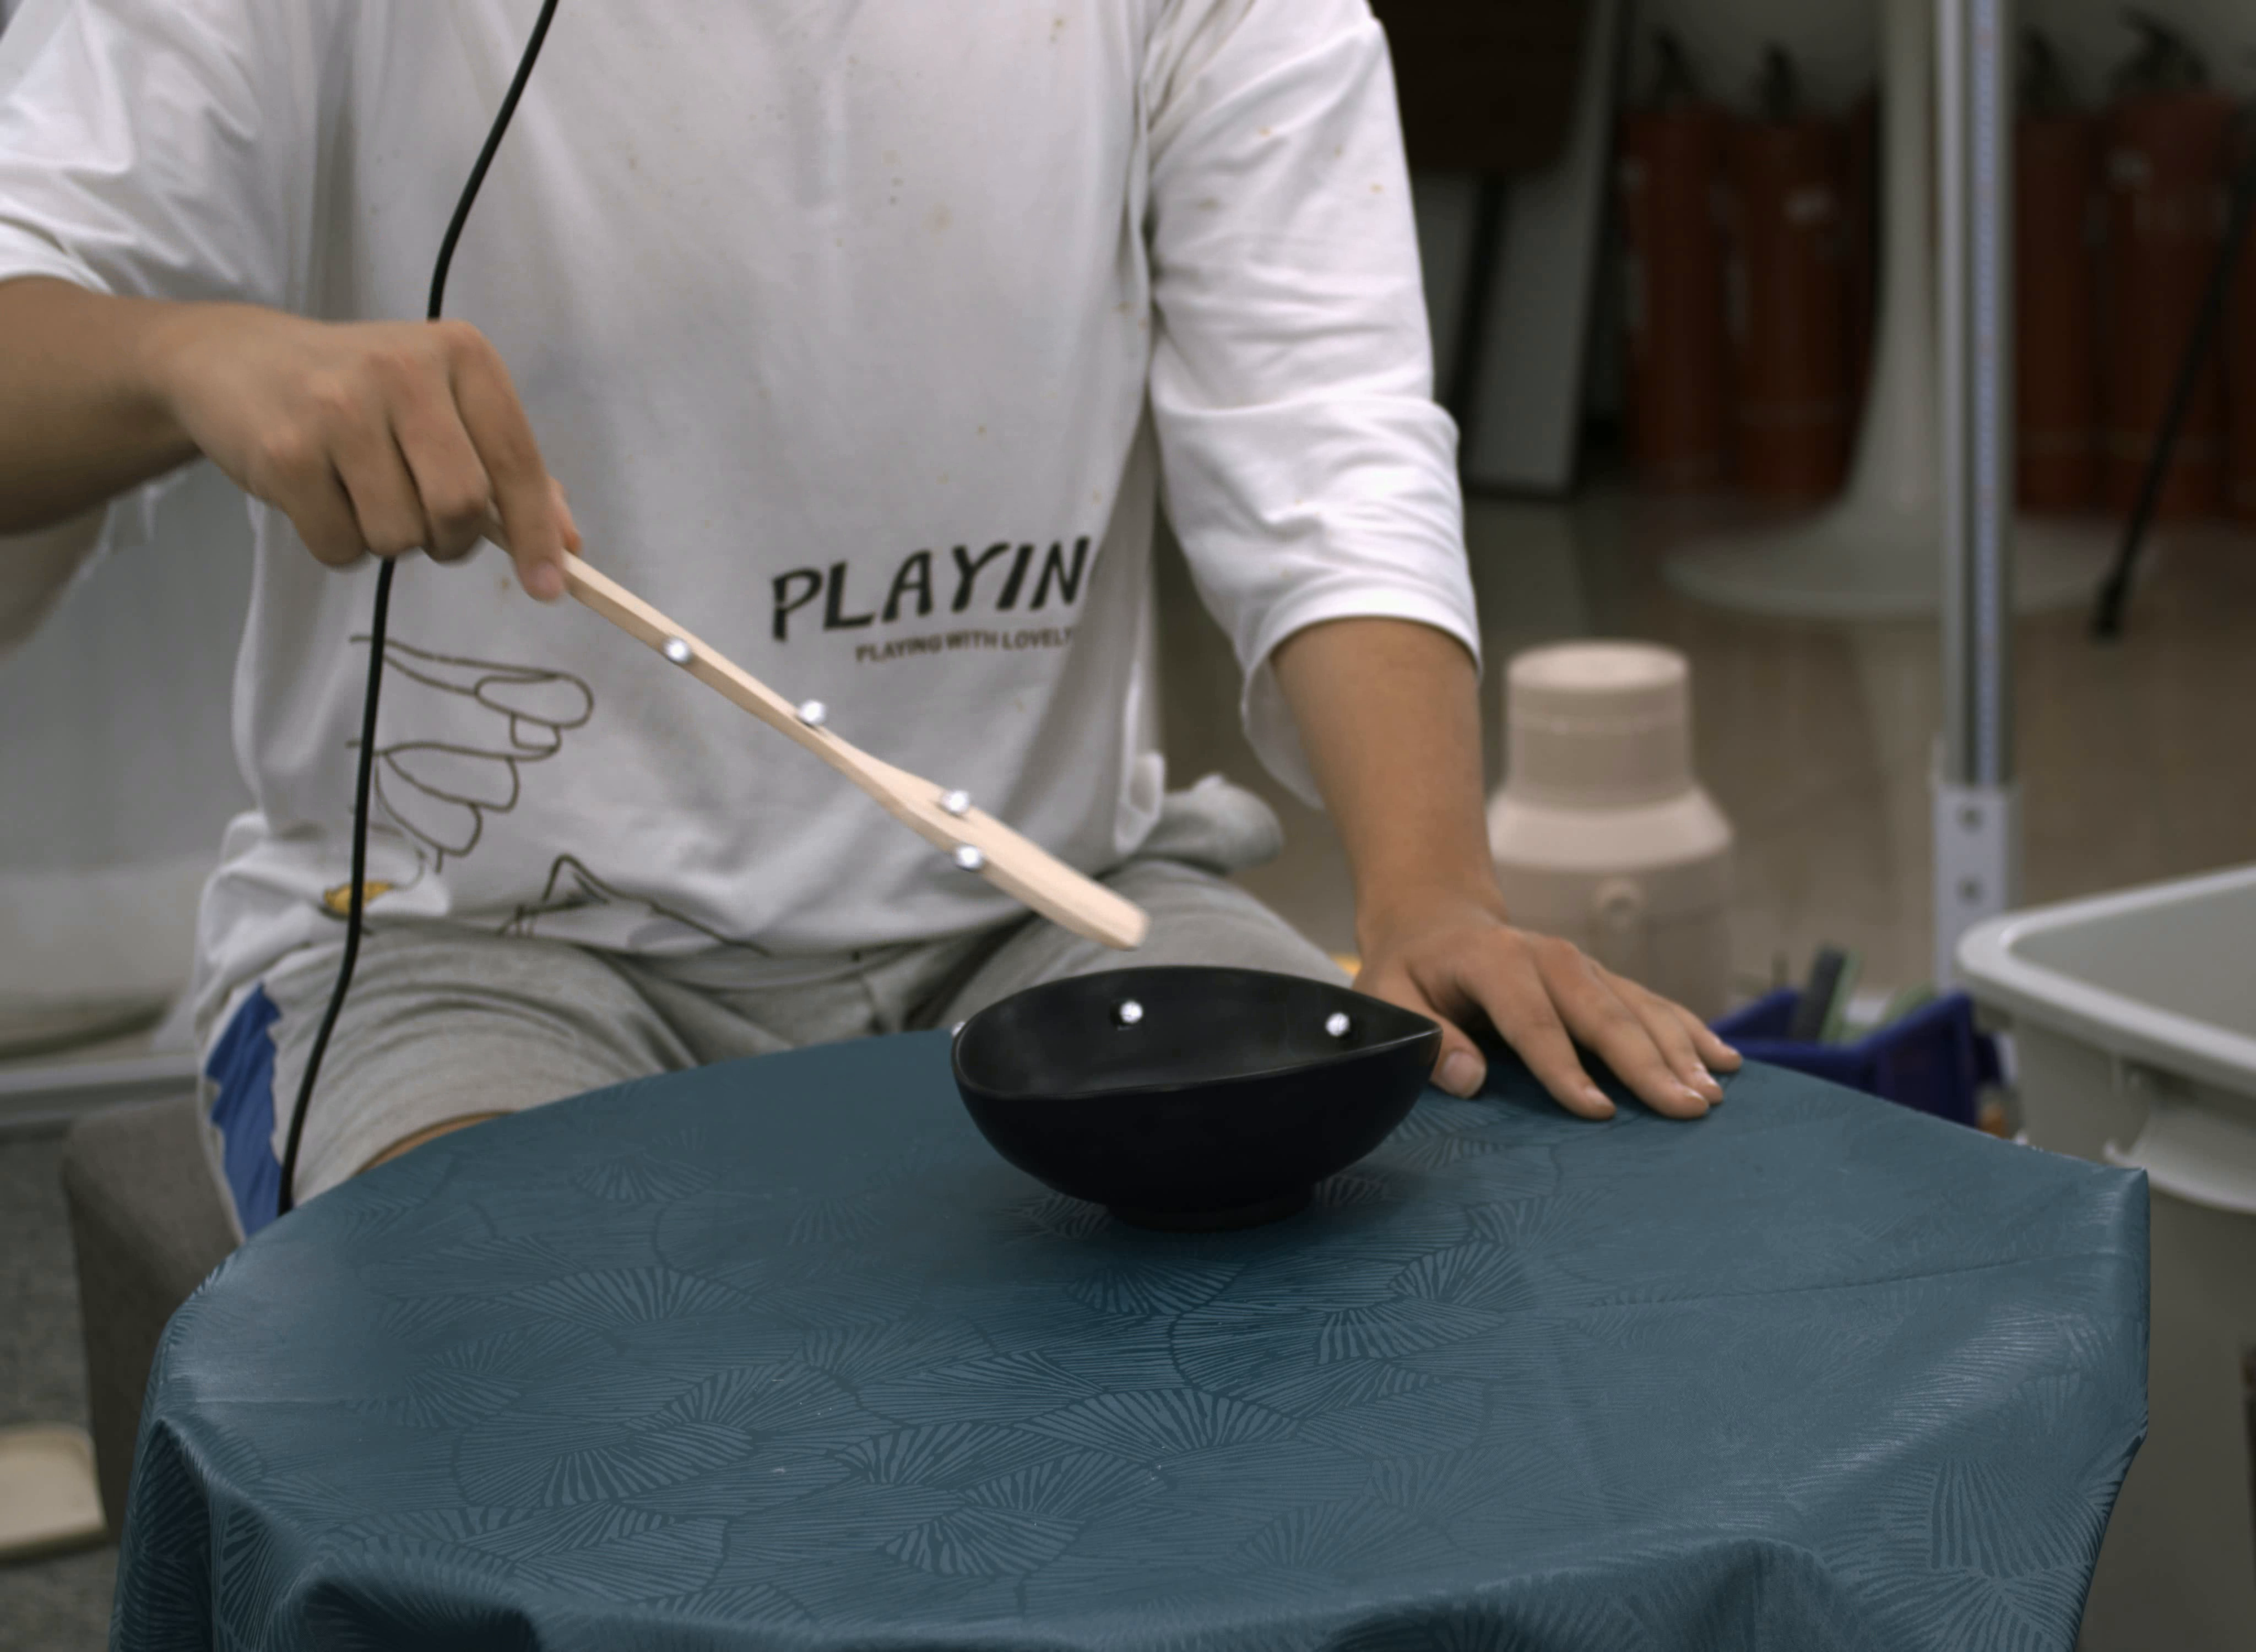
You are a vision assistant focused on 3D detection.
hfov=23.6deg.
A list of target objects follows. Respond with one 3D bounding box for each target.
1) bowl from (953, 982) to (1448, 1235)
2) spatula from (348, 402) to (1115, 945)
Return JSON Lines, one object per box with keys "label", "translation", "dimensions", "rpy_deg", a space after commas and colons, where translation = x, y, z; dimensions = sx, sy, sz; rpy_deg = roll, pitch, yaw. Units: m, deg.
{"label": "bowl", "translation": [0.024, 0.093, 1.751], "dimensions": [0.166, 0.067, 0.139], "rpy_deg": [-9, 13, -29]}
{"label": "spatula", "translation": [-0.126, -0.048, 1.711], "dimensions": [0.292, 0.011, 0.072], "rpy_deg": [35, 8, 1]}
